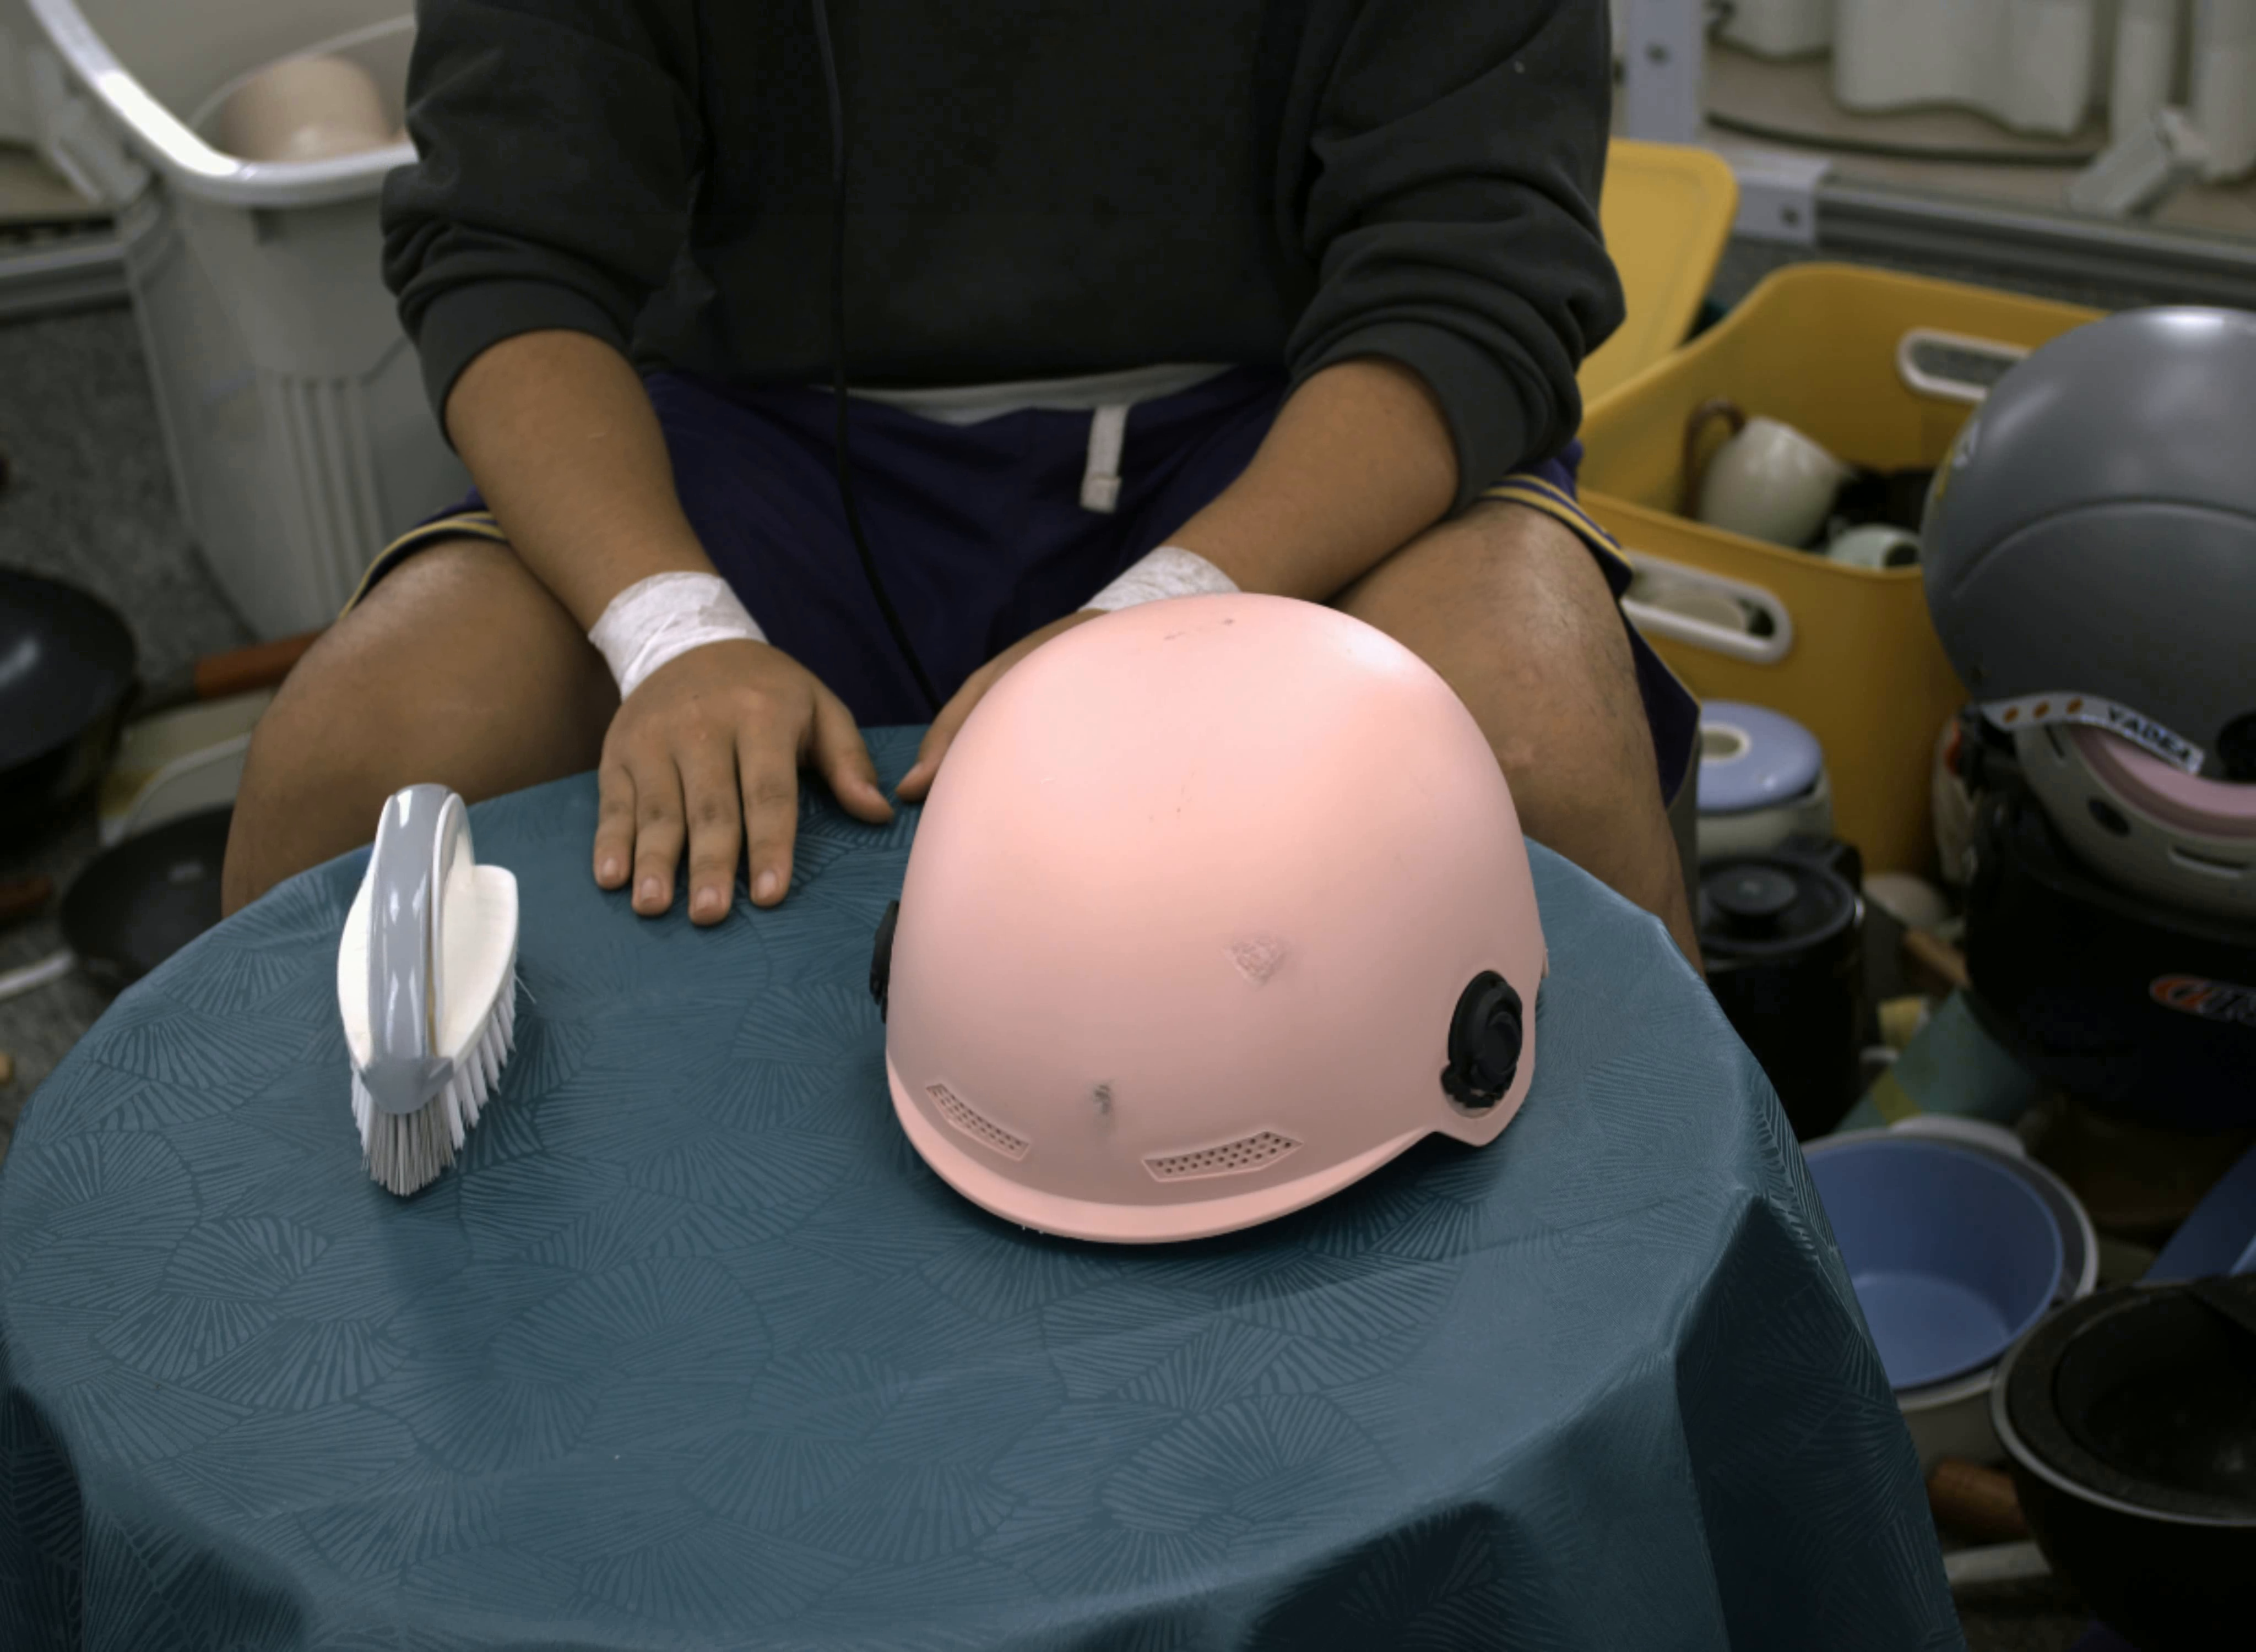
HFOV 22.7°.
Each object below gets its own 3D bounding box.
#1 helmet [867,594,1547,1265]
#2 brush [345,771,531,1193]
[{"bbox_3d":[0.025,0.016,1.902,0.232,0.157,0.271,7,32,18],"label":"helmet"},{"bbox_3d":[-0.242,0.046,1.935,0.061,0.093,0.178,-4,29,1],"label":"brush"}]
